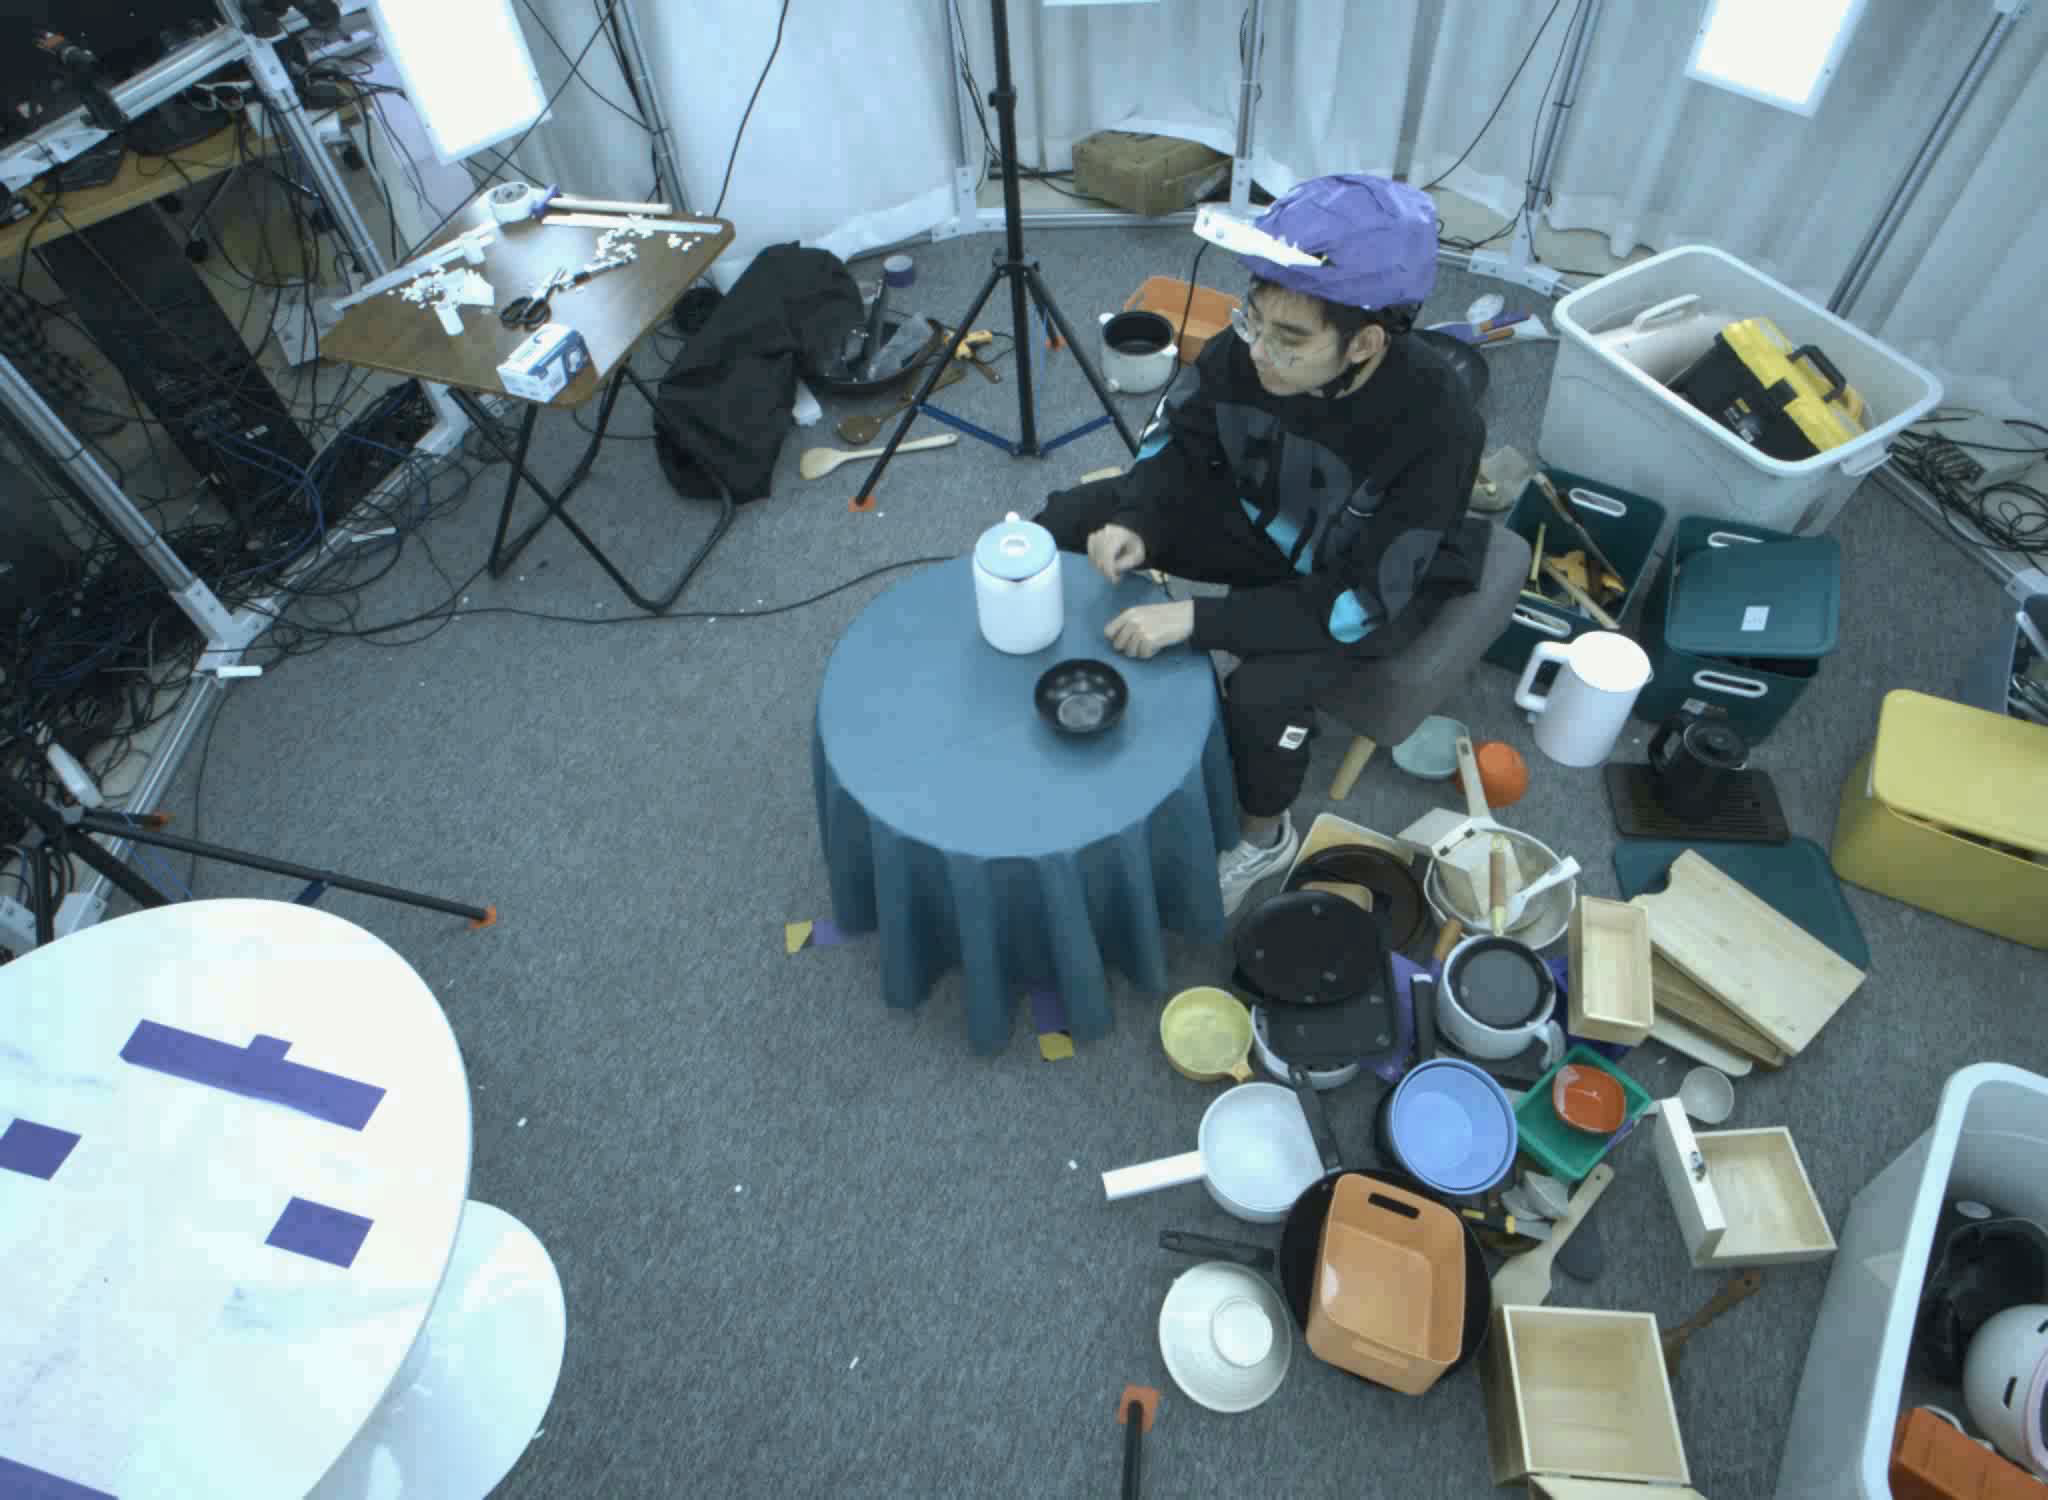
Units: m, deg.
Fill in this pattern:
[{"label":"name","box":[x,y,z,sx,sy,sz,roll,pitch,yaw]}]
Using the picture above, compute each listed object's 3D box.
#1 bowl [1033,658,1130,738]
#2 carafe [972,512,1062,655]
[{"label":"bowl","box":[0.084,-0.067,1.797,0.140,0.050,0.138,0,53,2]},{"label":"carafe","box":[-0.012,-0.264,1.866,0.132,0.184,0.188,-6,52,-2]}]
